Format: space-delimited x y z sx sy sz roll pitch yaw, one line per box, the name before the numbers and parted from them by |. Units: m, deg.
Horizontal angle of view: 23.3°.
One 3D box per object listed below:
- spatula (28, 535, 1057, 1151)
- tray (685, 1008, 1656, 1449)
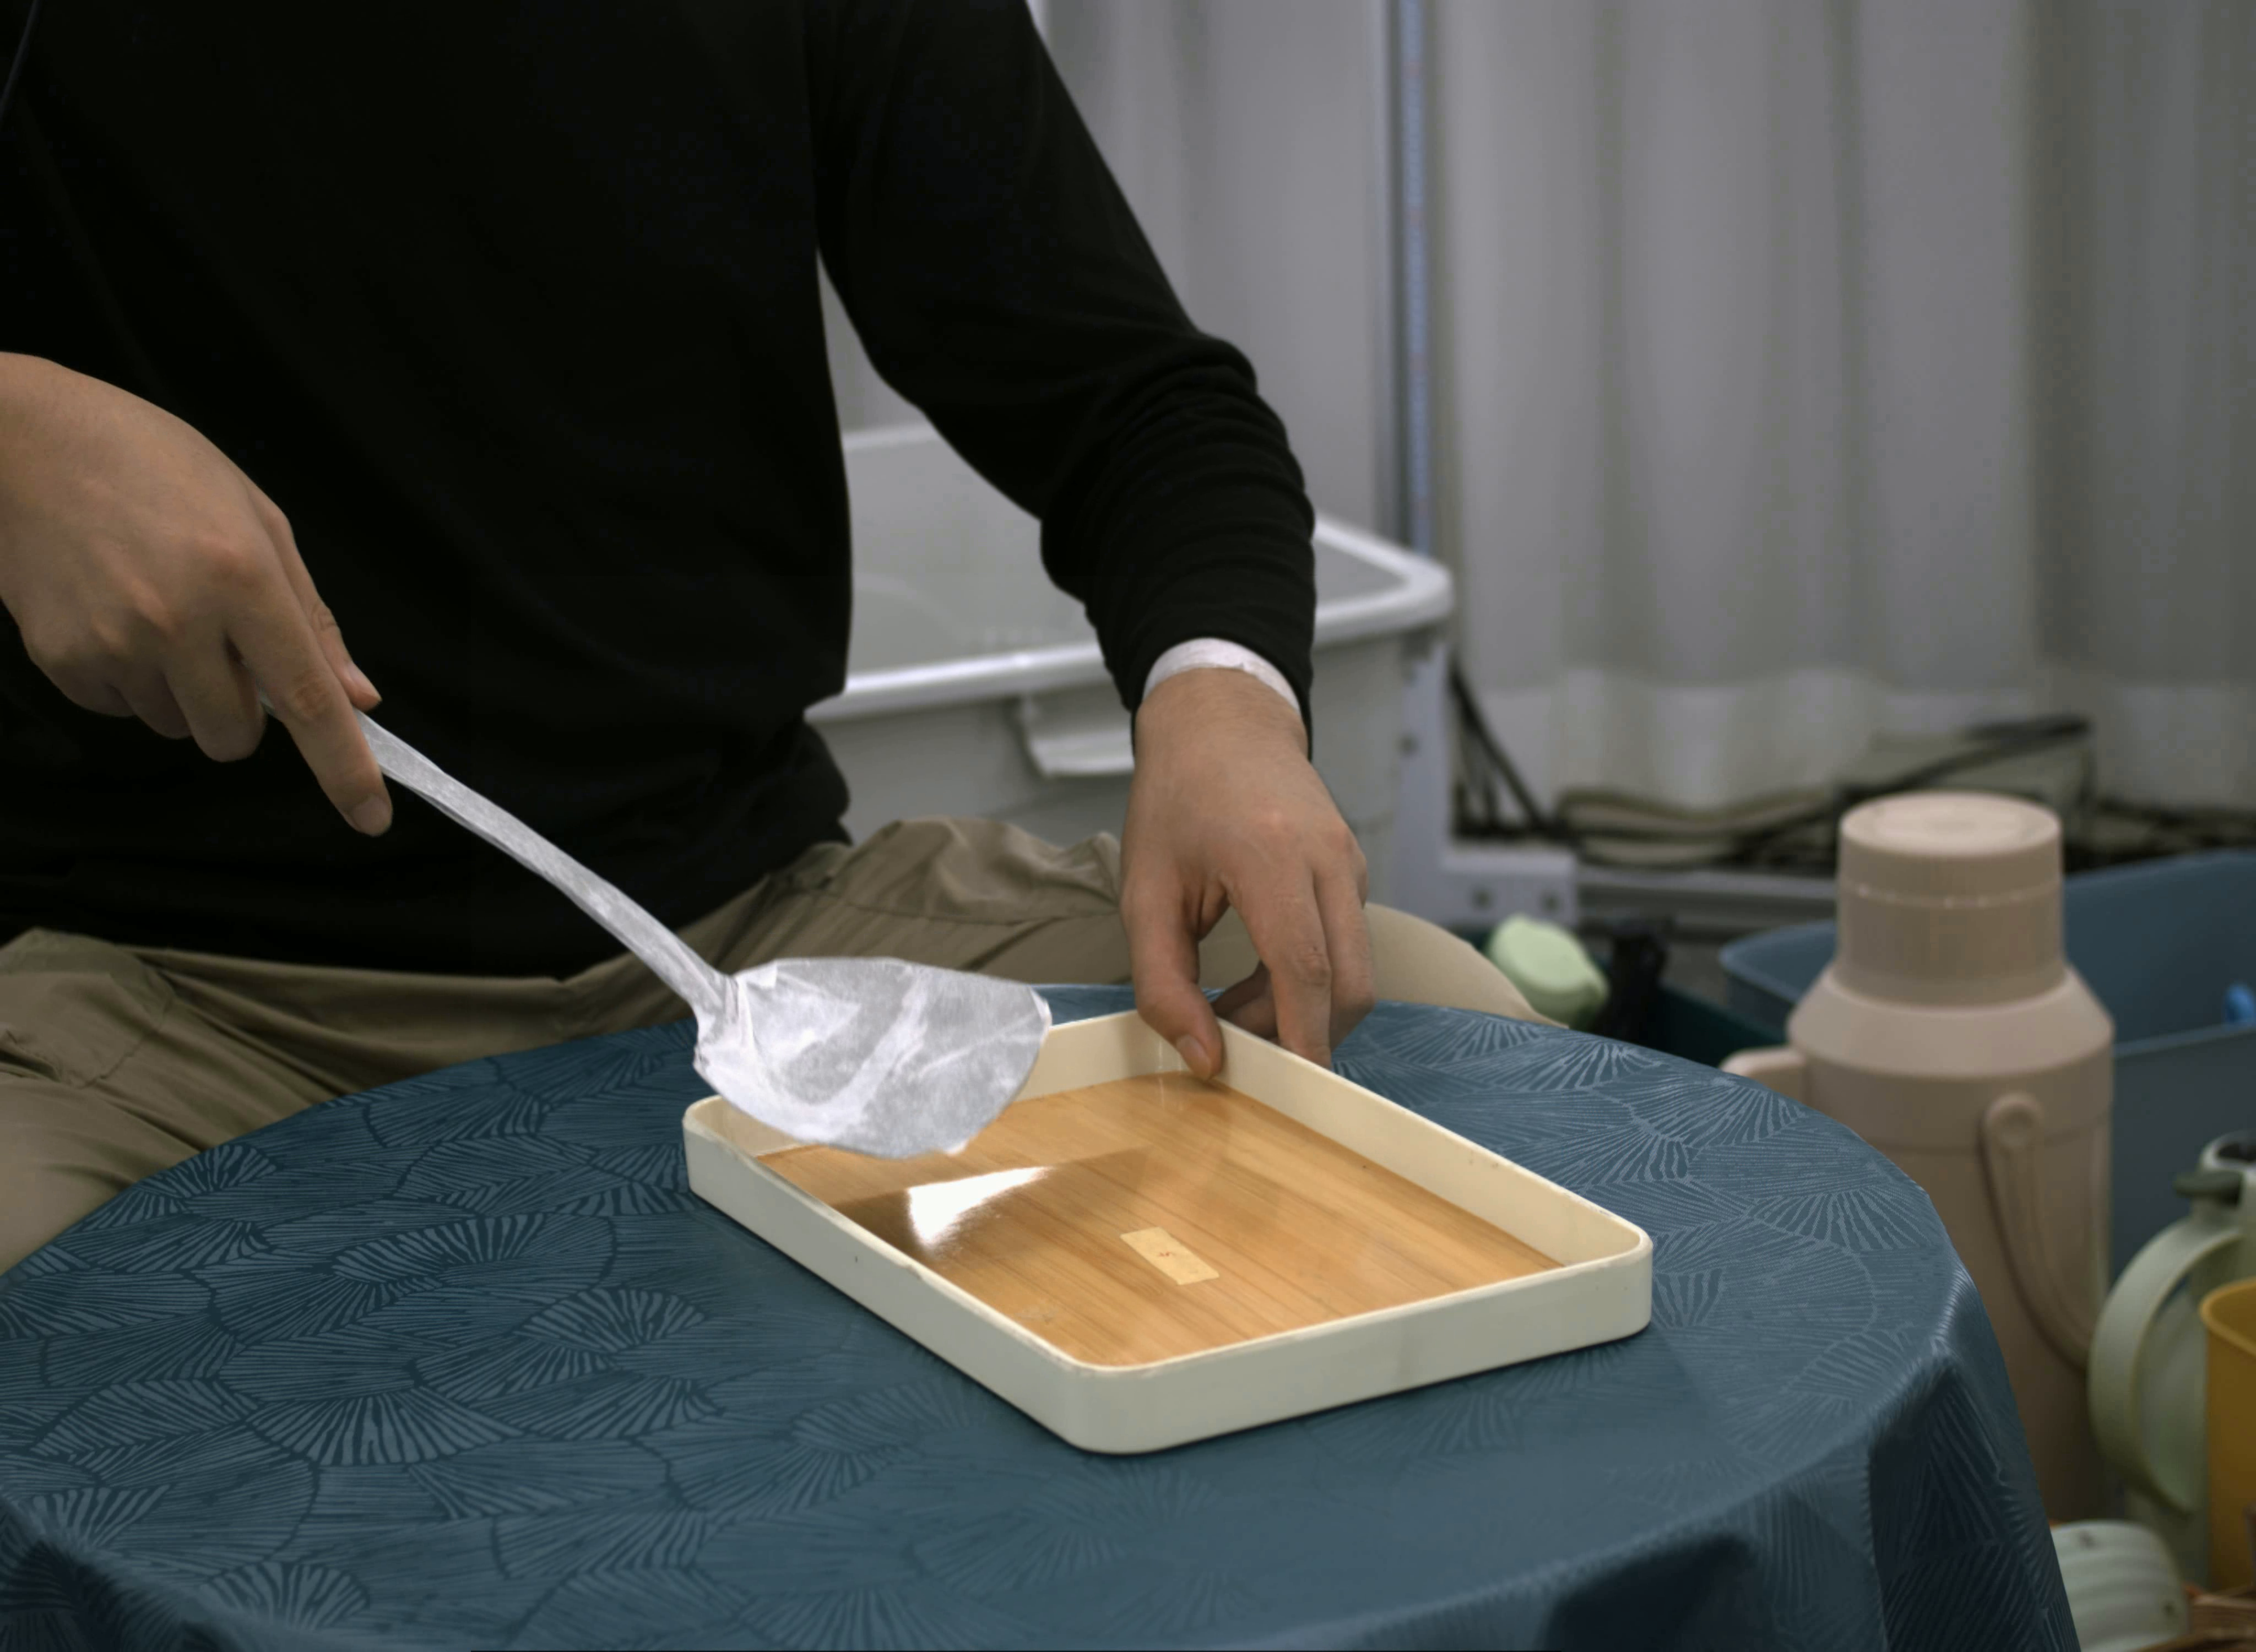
spatula | -0.191 -0.004 1.685 0.365 0.044 0.099 32 41 7
tray | 0.006 0.117 1.653 0.191 0.027 0.302 -10 16 -25
